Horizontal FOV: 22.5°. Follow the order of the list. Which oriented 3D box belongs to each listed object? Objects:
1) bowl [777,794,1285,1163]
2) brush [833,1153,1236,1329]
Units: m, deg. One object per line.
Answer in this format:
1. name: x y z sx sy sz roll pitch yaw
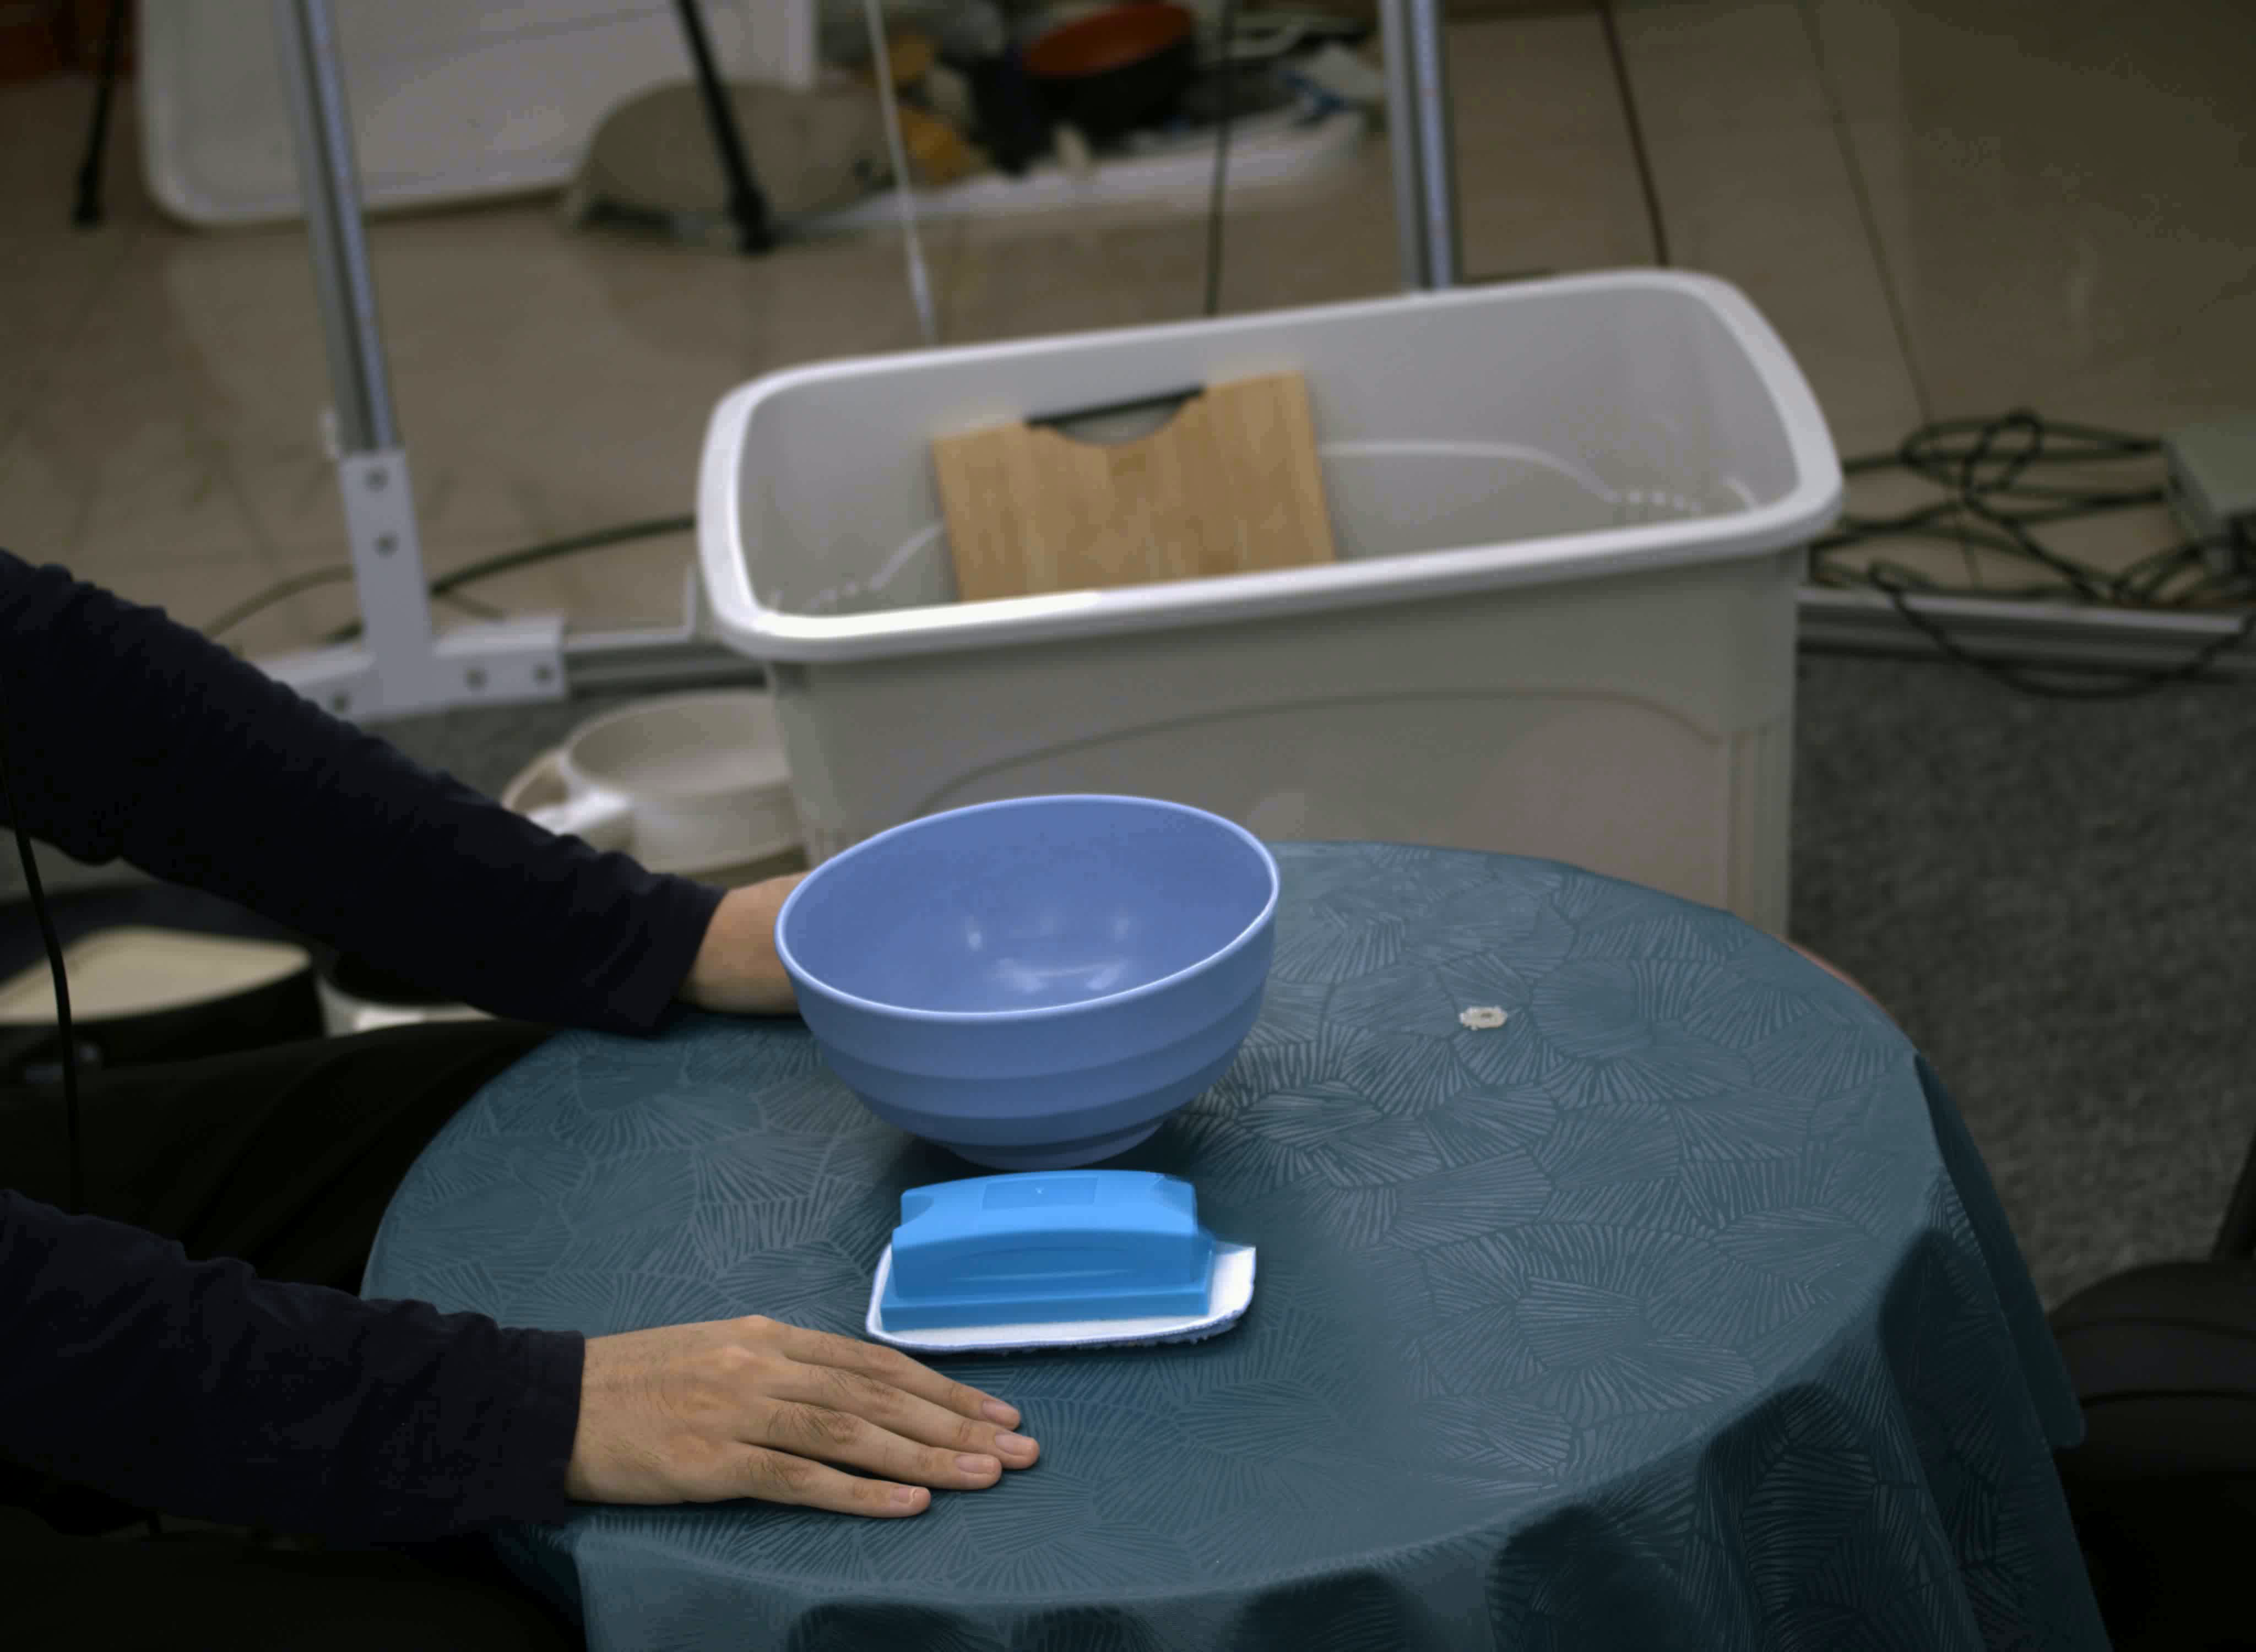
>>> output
1. bowl: -0.033 0.071 2.190 0.196 0.097 0.193 -5 25 2
2. brush: -0.034 0.149 2.058 0.143 0.057 0.083 0 21 6
